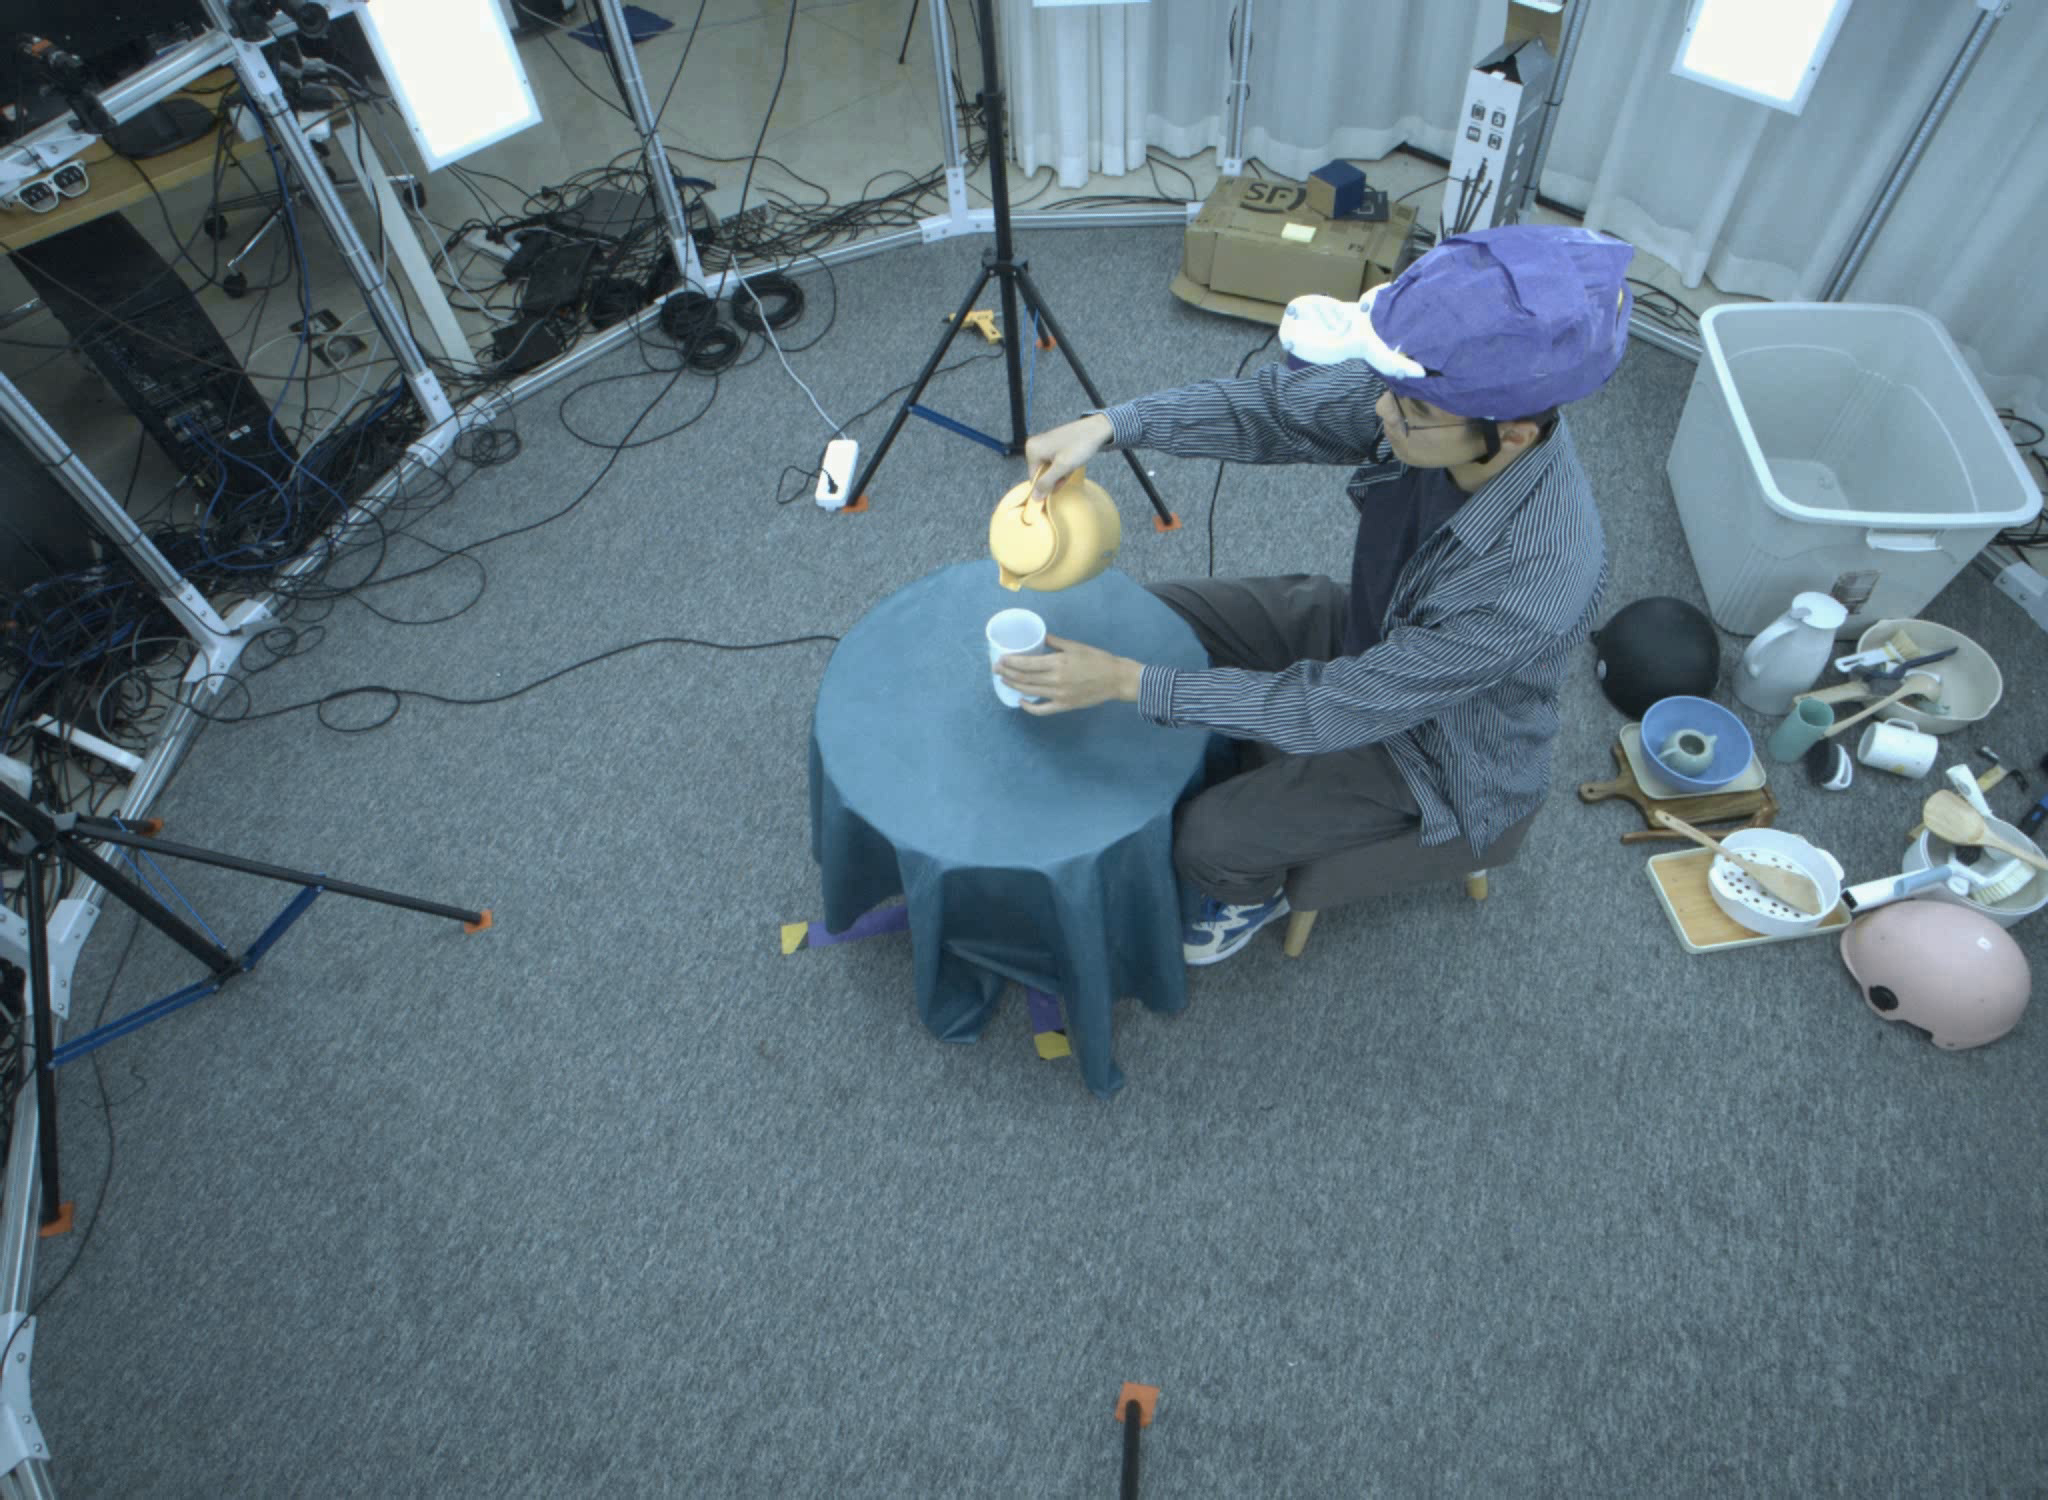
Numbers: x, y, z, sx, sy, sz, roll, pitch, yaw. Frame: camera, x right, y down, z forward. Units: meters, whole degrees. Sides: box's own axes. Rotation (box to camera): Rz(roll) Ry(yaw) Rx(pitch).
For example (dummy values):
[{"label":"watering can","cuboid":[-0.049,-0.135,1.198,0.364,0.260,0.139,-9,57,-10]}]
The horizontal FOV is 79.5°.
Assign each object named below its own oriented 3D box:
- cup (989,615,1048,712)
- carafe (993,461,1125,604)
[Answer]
[{"label":"cup","cuboid":[-0.007,-0.119,1.739,0.082,0.126,0.081,1,53,0]},{"label":"carafe","cuboid":[0.046,-0.310,1.739,0.162,0.203,0.262,22,20,11]}]
